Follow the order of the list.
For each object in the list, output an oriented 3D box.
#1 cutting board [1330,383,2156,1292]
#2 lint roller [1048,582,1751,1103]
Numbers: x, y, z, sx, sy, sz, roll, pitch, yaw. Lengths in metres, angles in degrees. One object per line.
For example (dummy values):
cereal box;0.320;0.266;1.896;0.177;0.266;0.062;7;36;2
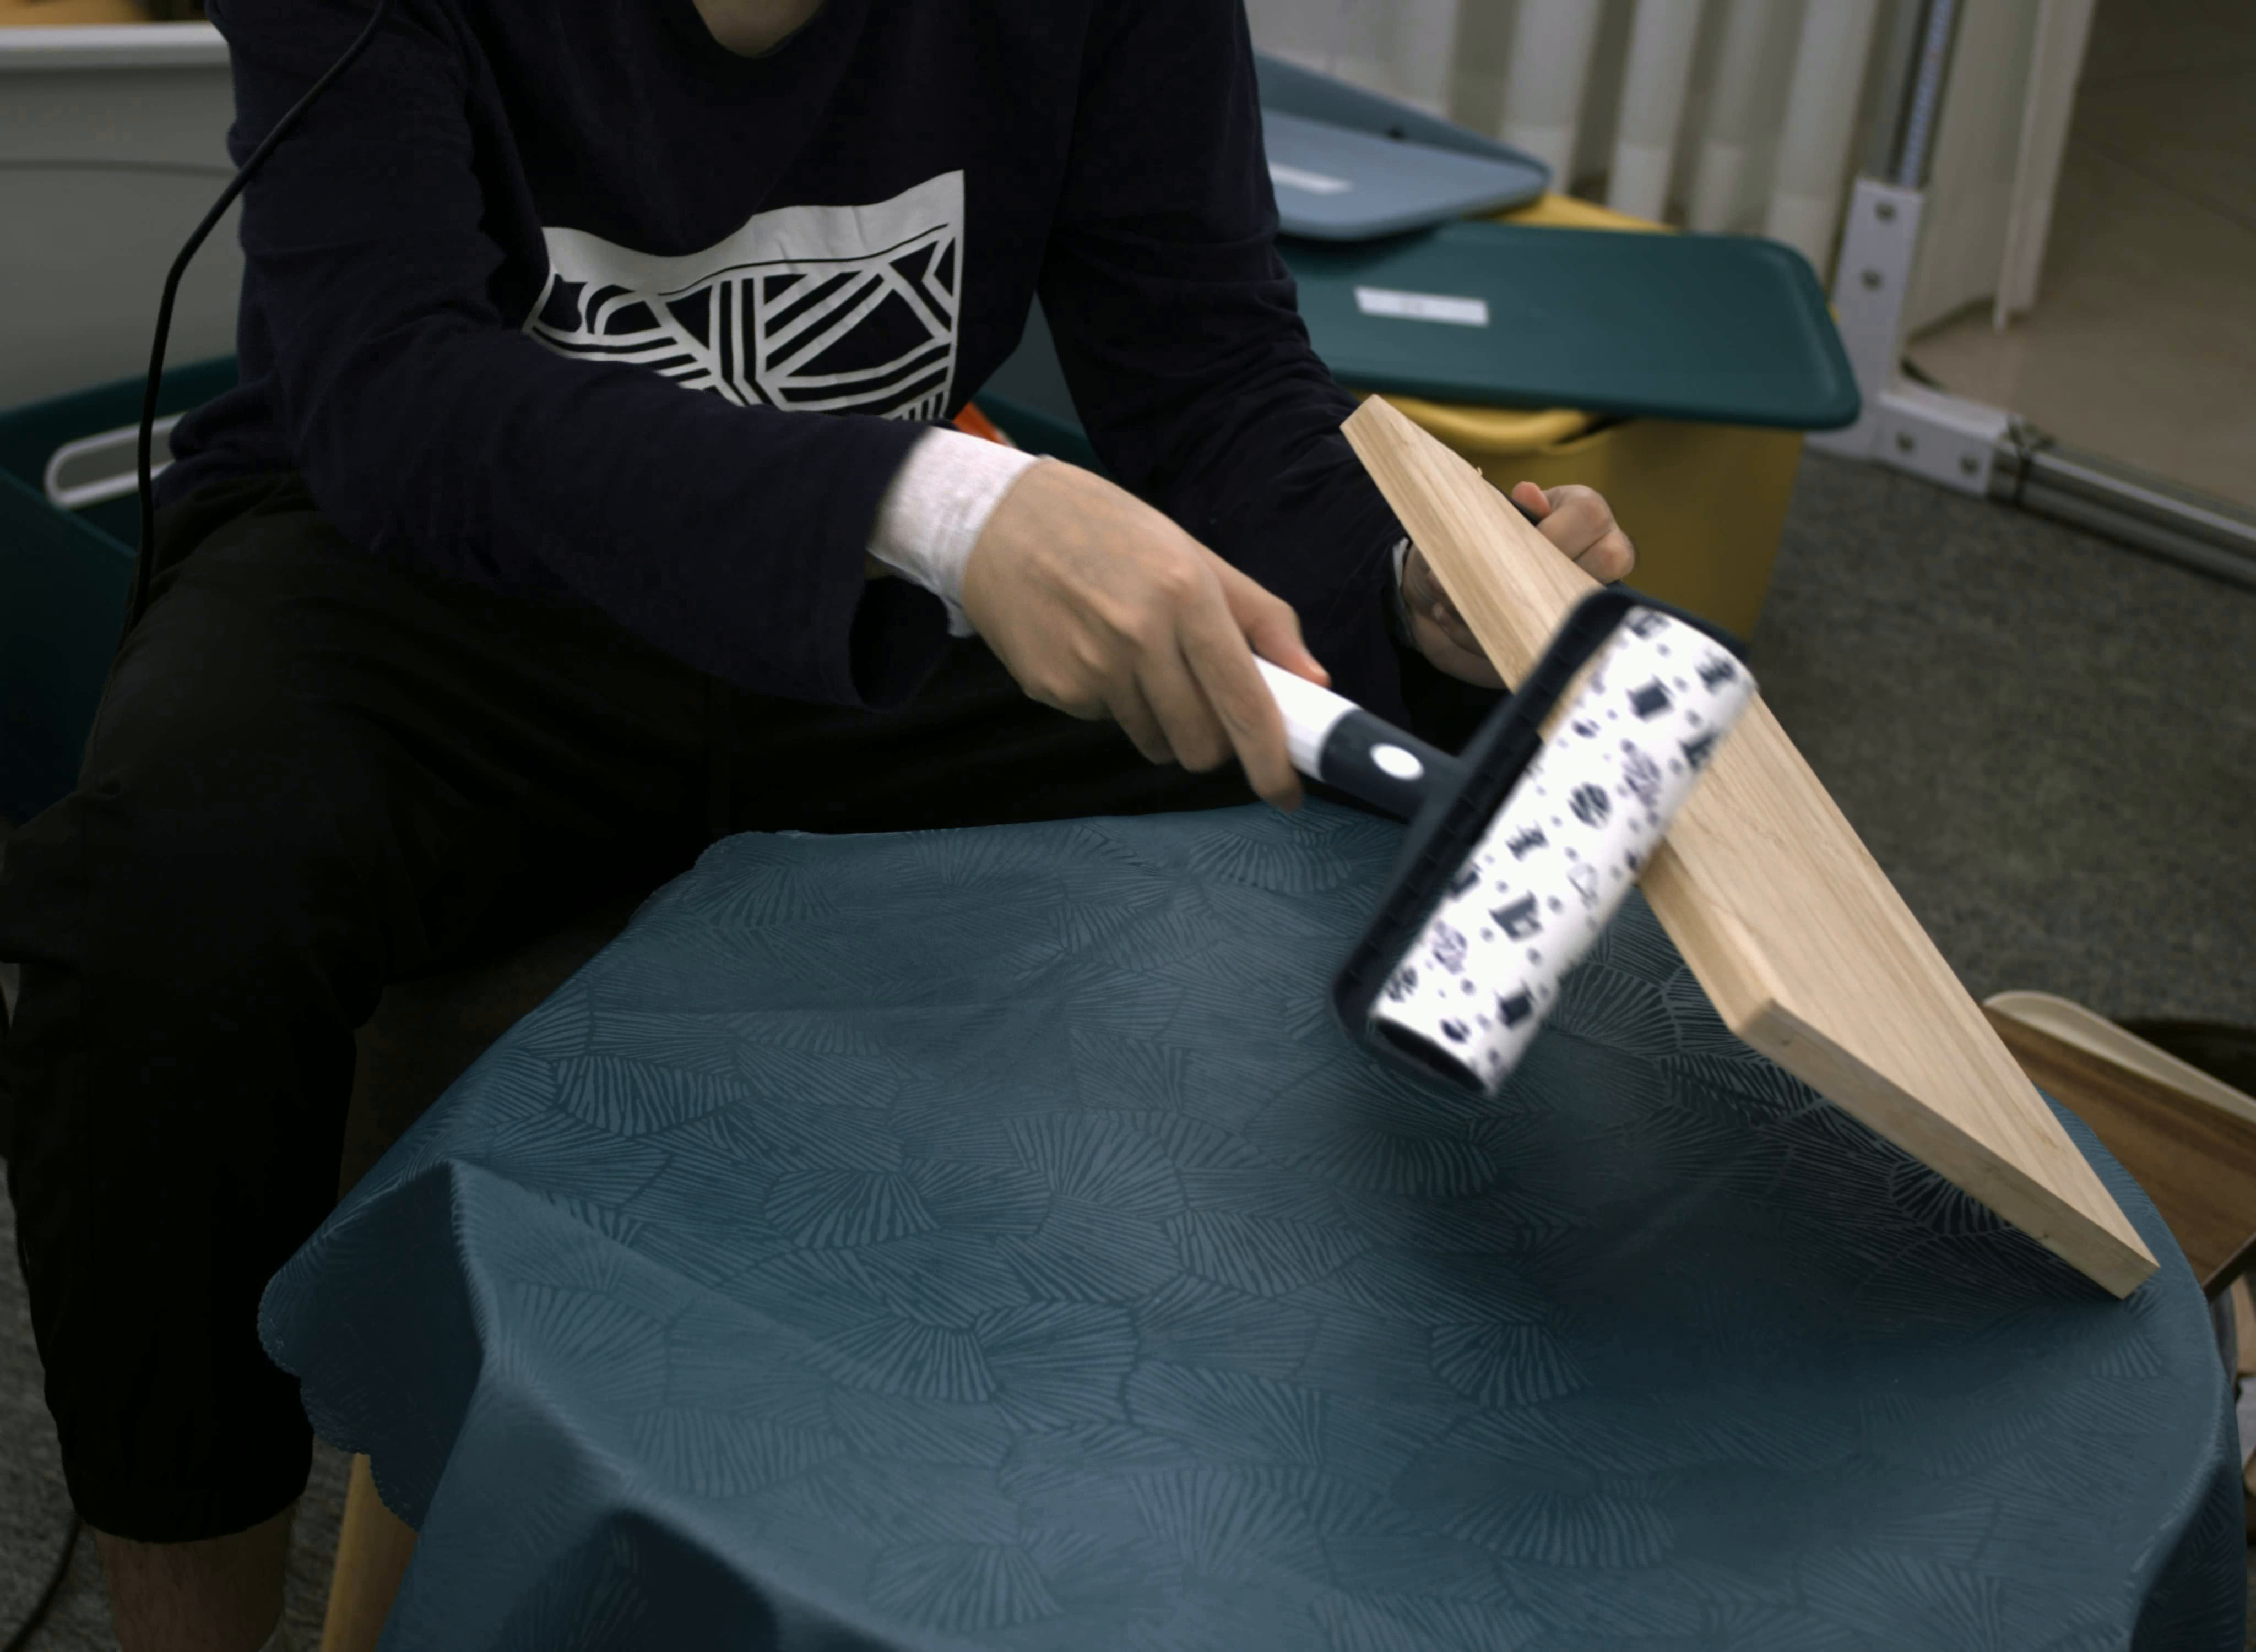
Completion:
cutting board;0.210;0.000;1.856;0.248;0.023;0.352;33;19;-41
lint roller;0.064;-0.028;1.752;0.249;0.176;0.050;26;-13;34
